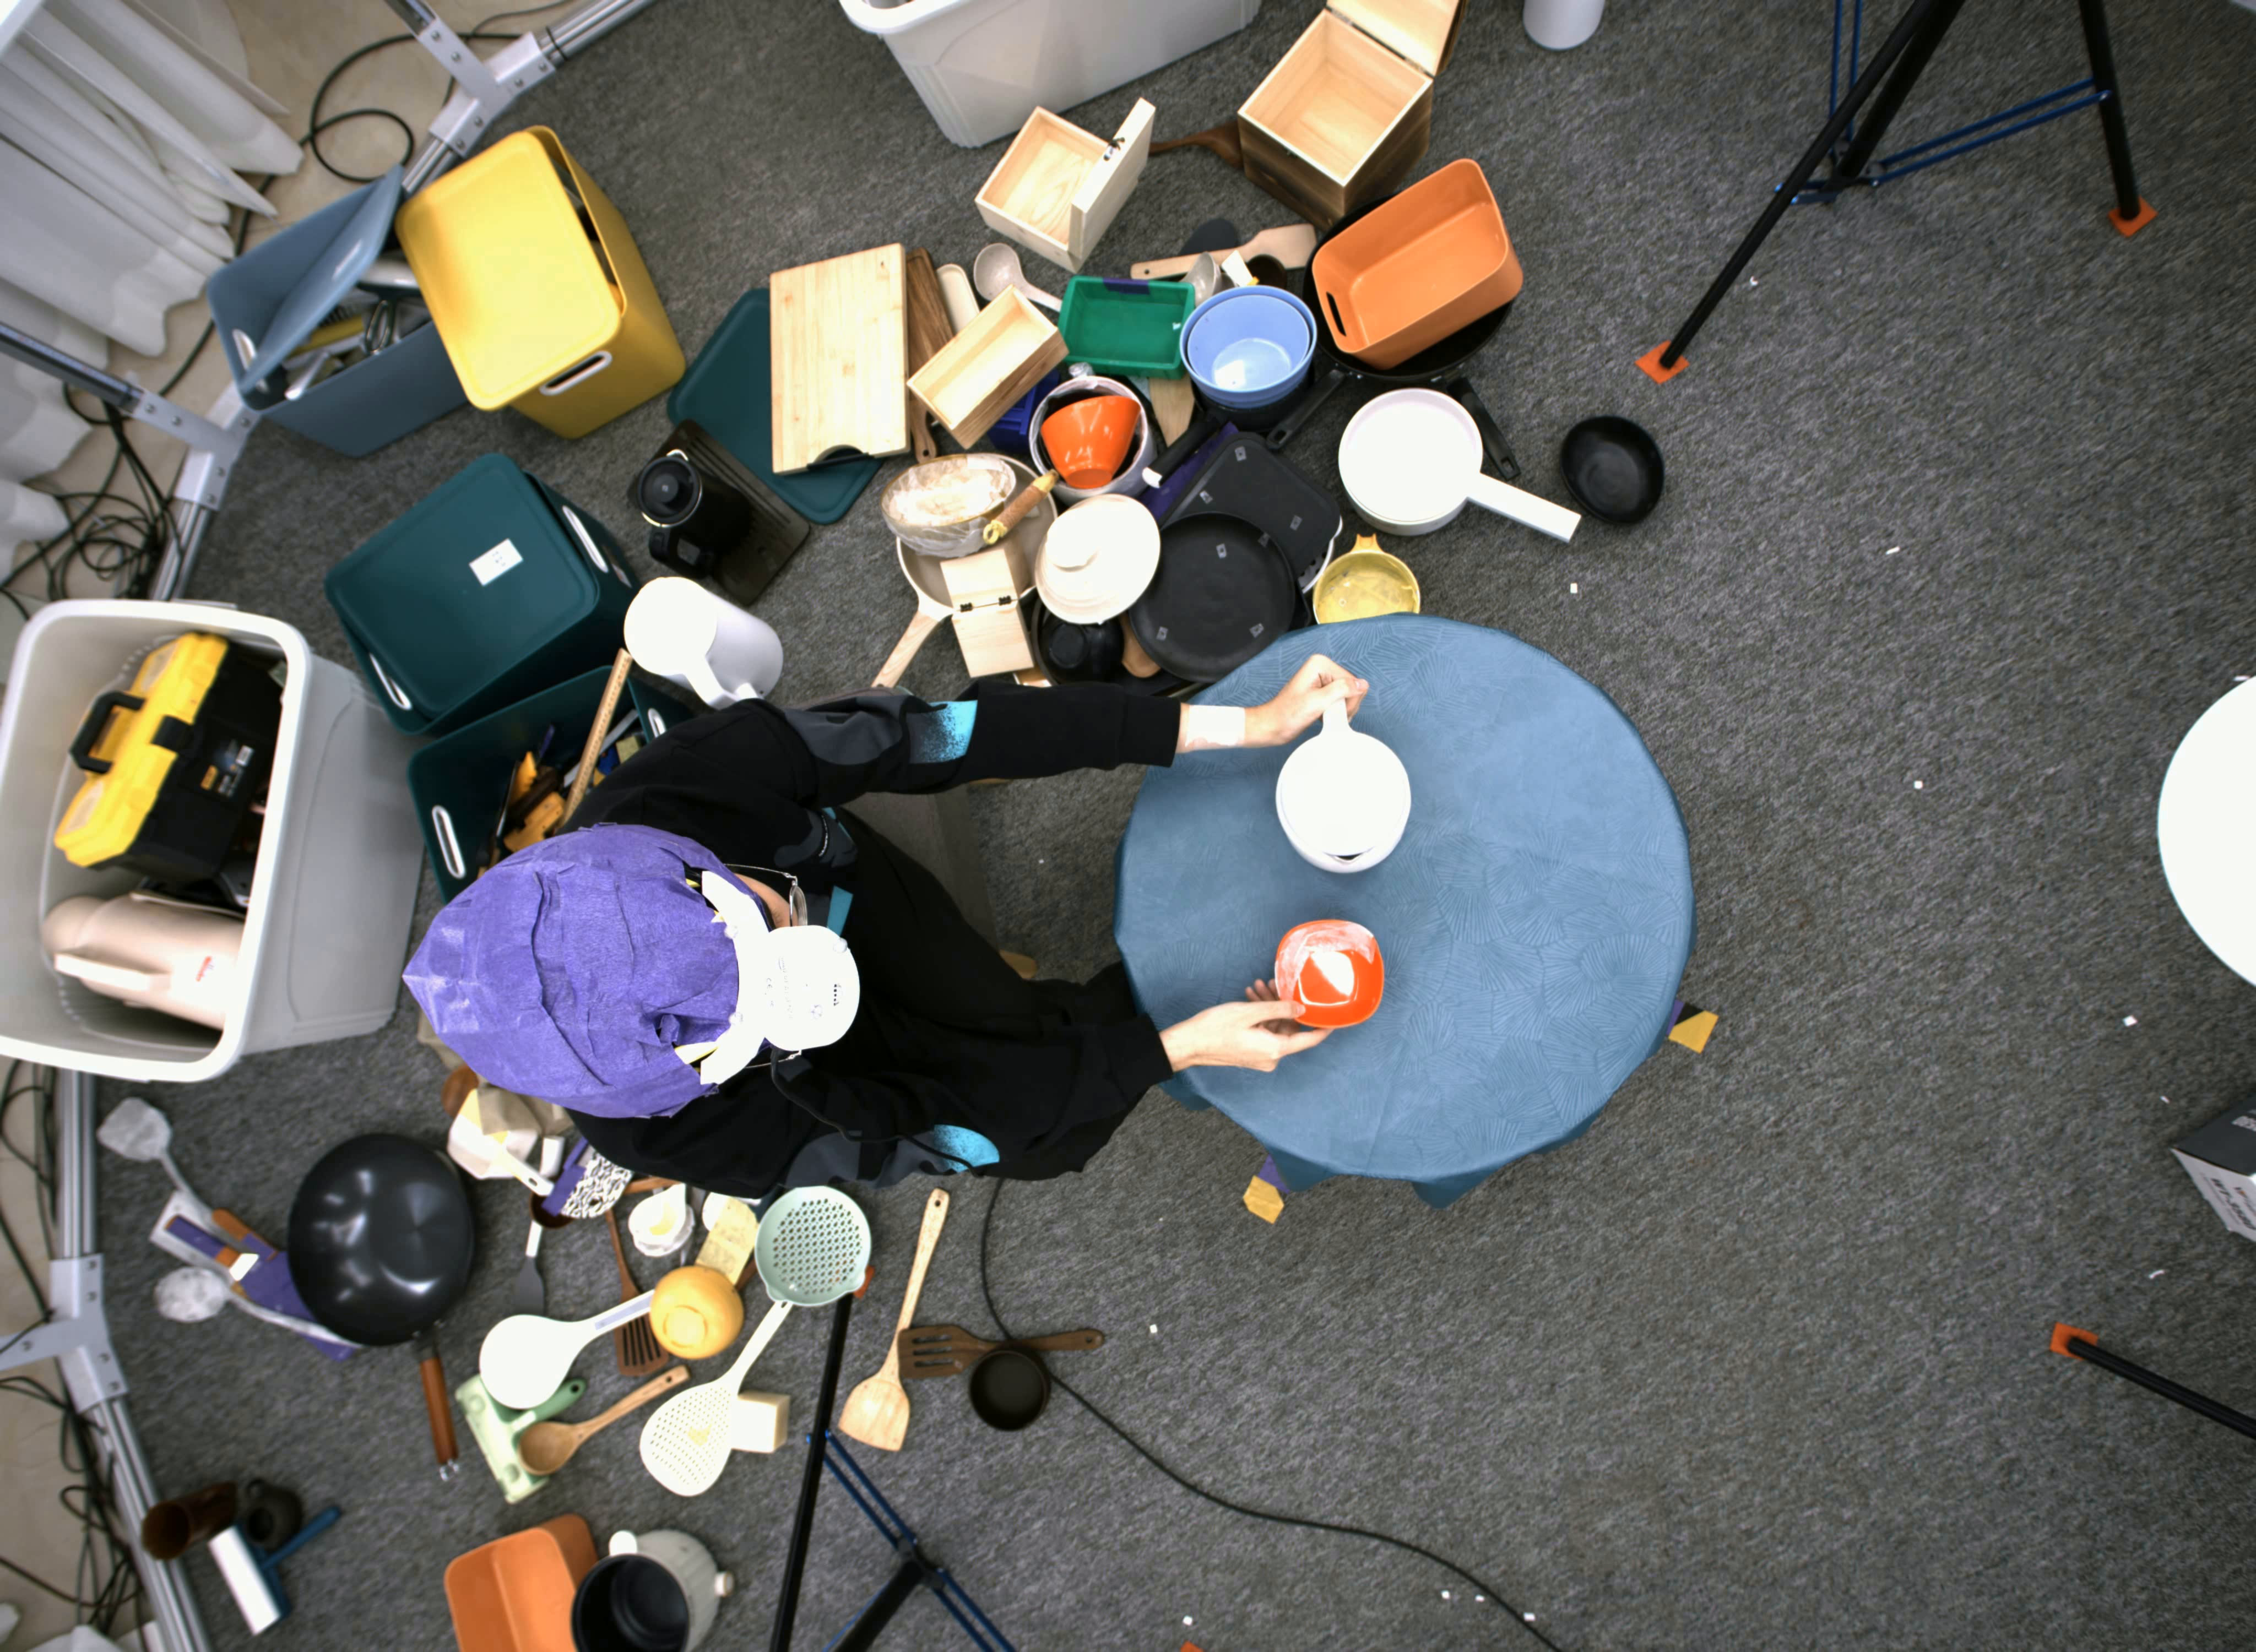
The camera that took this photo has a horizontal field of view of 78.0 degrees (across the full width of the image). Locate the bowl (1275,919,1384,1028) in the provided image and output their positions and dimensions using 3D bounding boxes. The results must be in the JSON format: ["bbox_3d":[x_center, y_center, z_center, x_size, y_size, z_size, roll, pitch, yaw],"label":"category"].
[{"bbox_3d":[0.204,0.151,1.419,0.119,0.051,0.118,-1,83,4],"label":"bowl"}]

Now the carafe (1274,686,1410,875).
[{"bbox_3d":[0.211,-0.047,1.386,0.133,0.183,0.189,-8,82,8],"label":"carafe"}]
